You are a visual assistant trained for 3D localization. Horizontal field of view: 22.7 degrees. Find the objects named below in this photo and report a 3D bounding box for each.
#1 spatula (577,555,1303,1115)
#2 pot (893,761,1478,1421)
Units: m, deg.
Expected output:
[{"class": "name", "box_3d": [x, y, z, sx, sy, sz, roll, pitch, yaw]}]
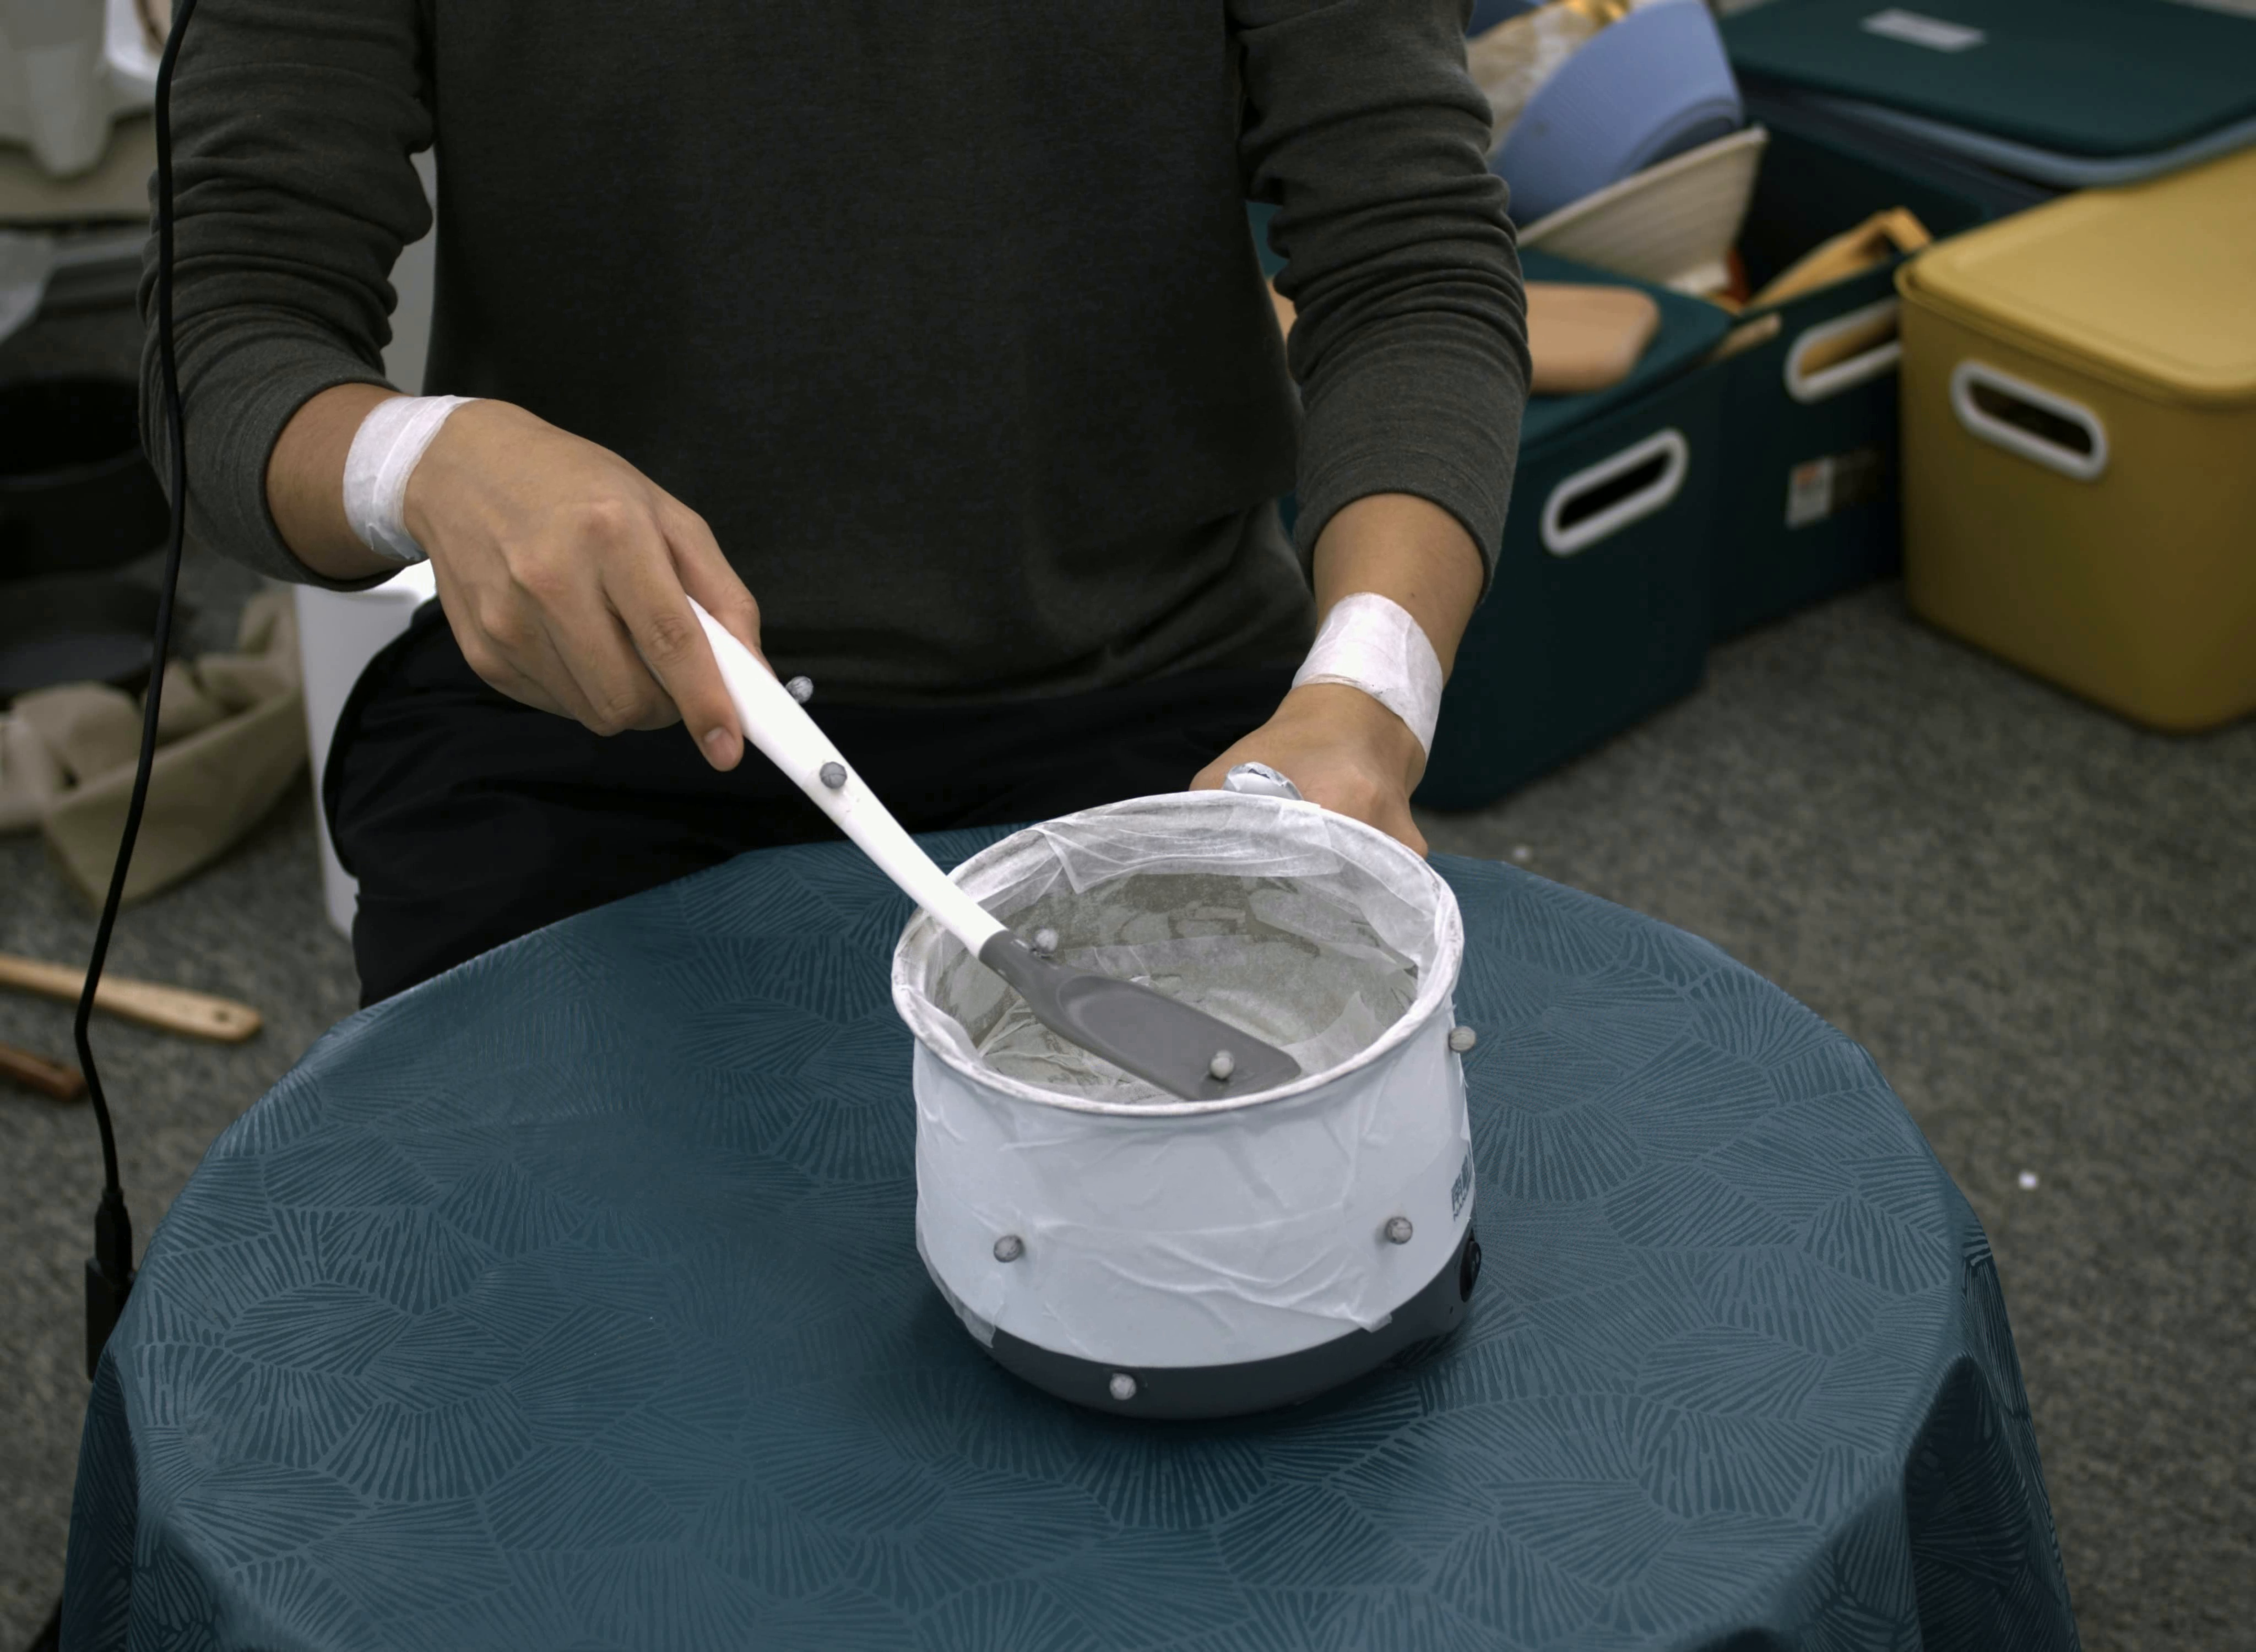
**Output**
[{"class": "spatula", "box_3d": [-0.064, 0.007, 1.742, 0.288, 0.032, 0.059, 39, 29, 26]}, {"class": "pot", "box_3d": [0.026, 0.075, 1.788, 0.177, 0.135, 0.238, 4, 32, 14]}]
